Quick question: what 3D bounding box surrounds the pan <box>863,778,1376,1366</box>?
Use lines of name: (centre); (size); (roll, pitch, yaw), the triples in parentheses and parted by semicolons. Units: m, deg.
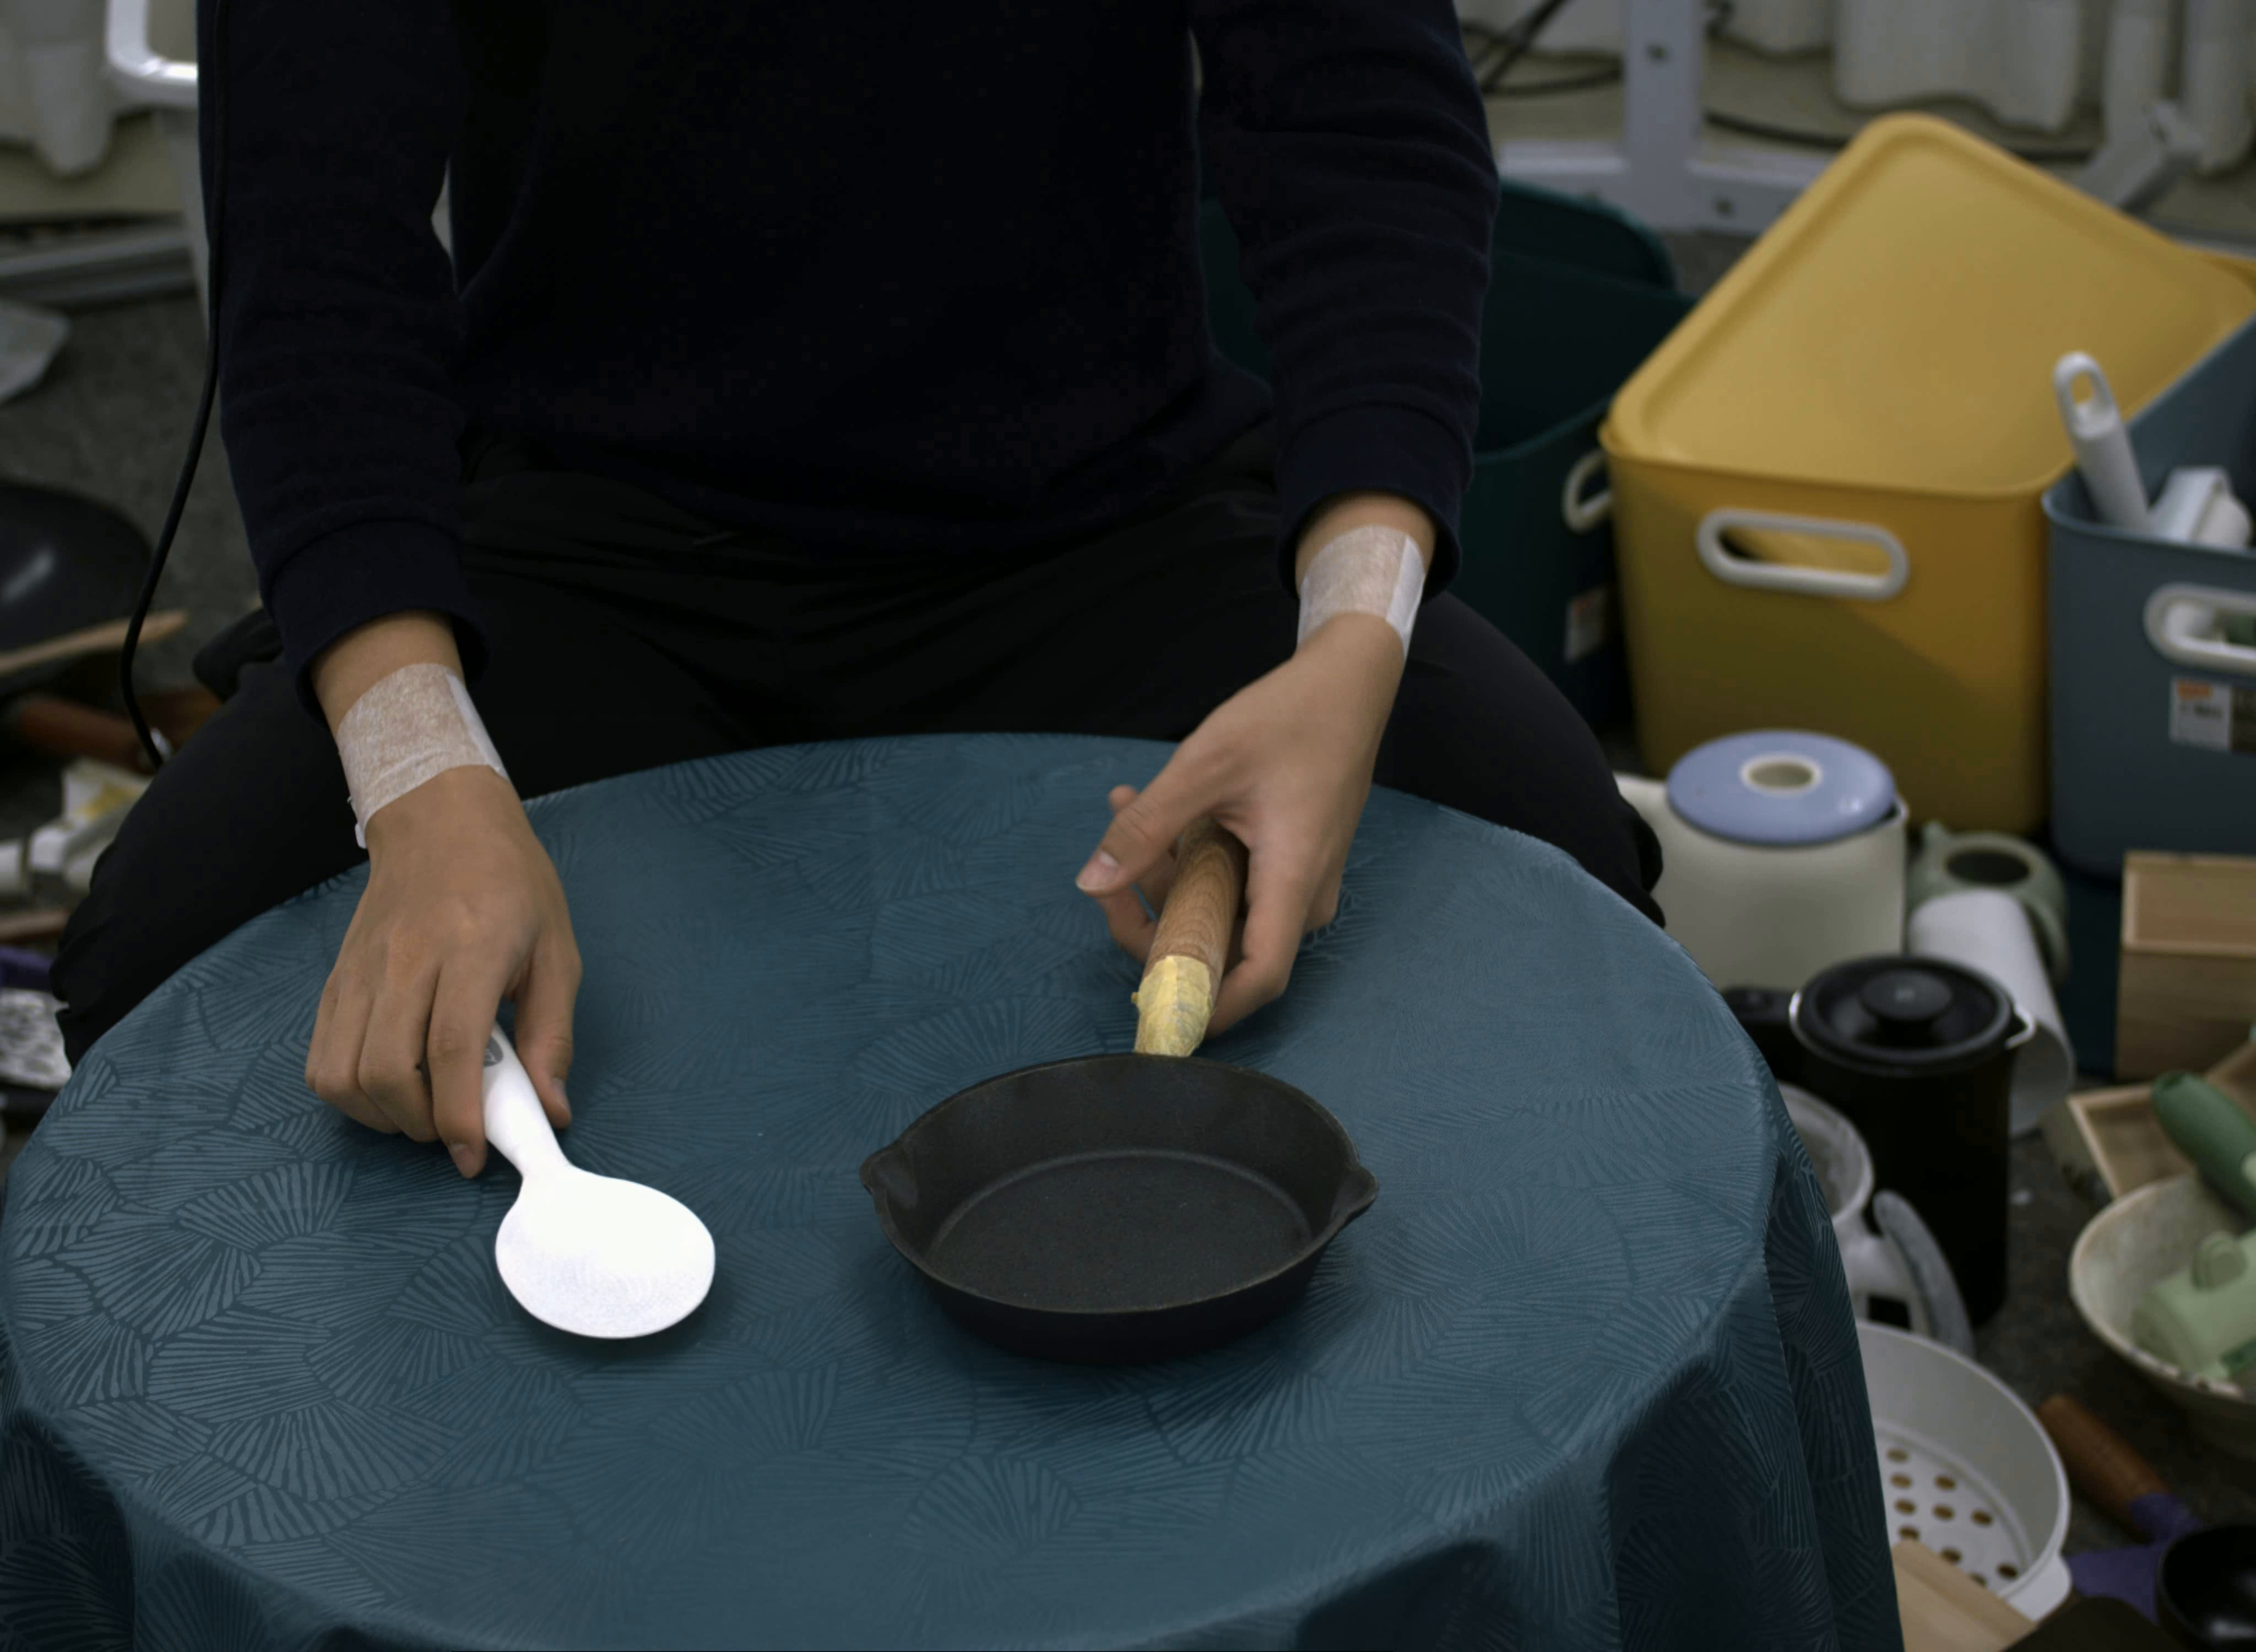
pan: (0.013, 0.080, 1.888); (0.168, 0.049, 0.330); (3, 30, 11)

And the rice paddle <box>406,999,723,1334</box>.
rice paddle: (-0.192, 0.115, 1.862); (0.069, 0.029, 0.206); (-18, 31, -19)
